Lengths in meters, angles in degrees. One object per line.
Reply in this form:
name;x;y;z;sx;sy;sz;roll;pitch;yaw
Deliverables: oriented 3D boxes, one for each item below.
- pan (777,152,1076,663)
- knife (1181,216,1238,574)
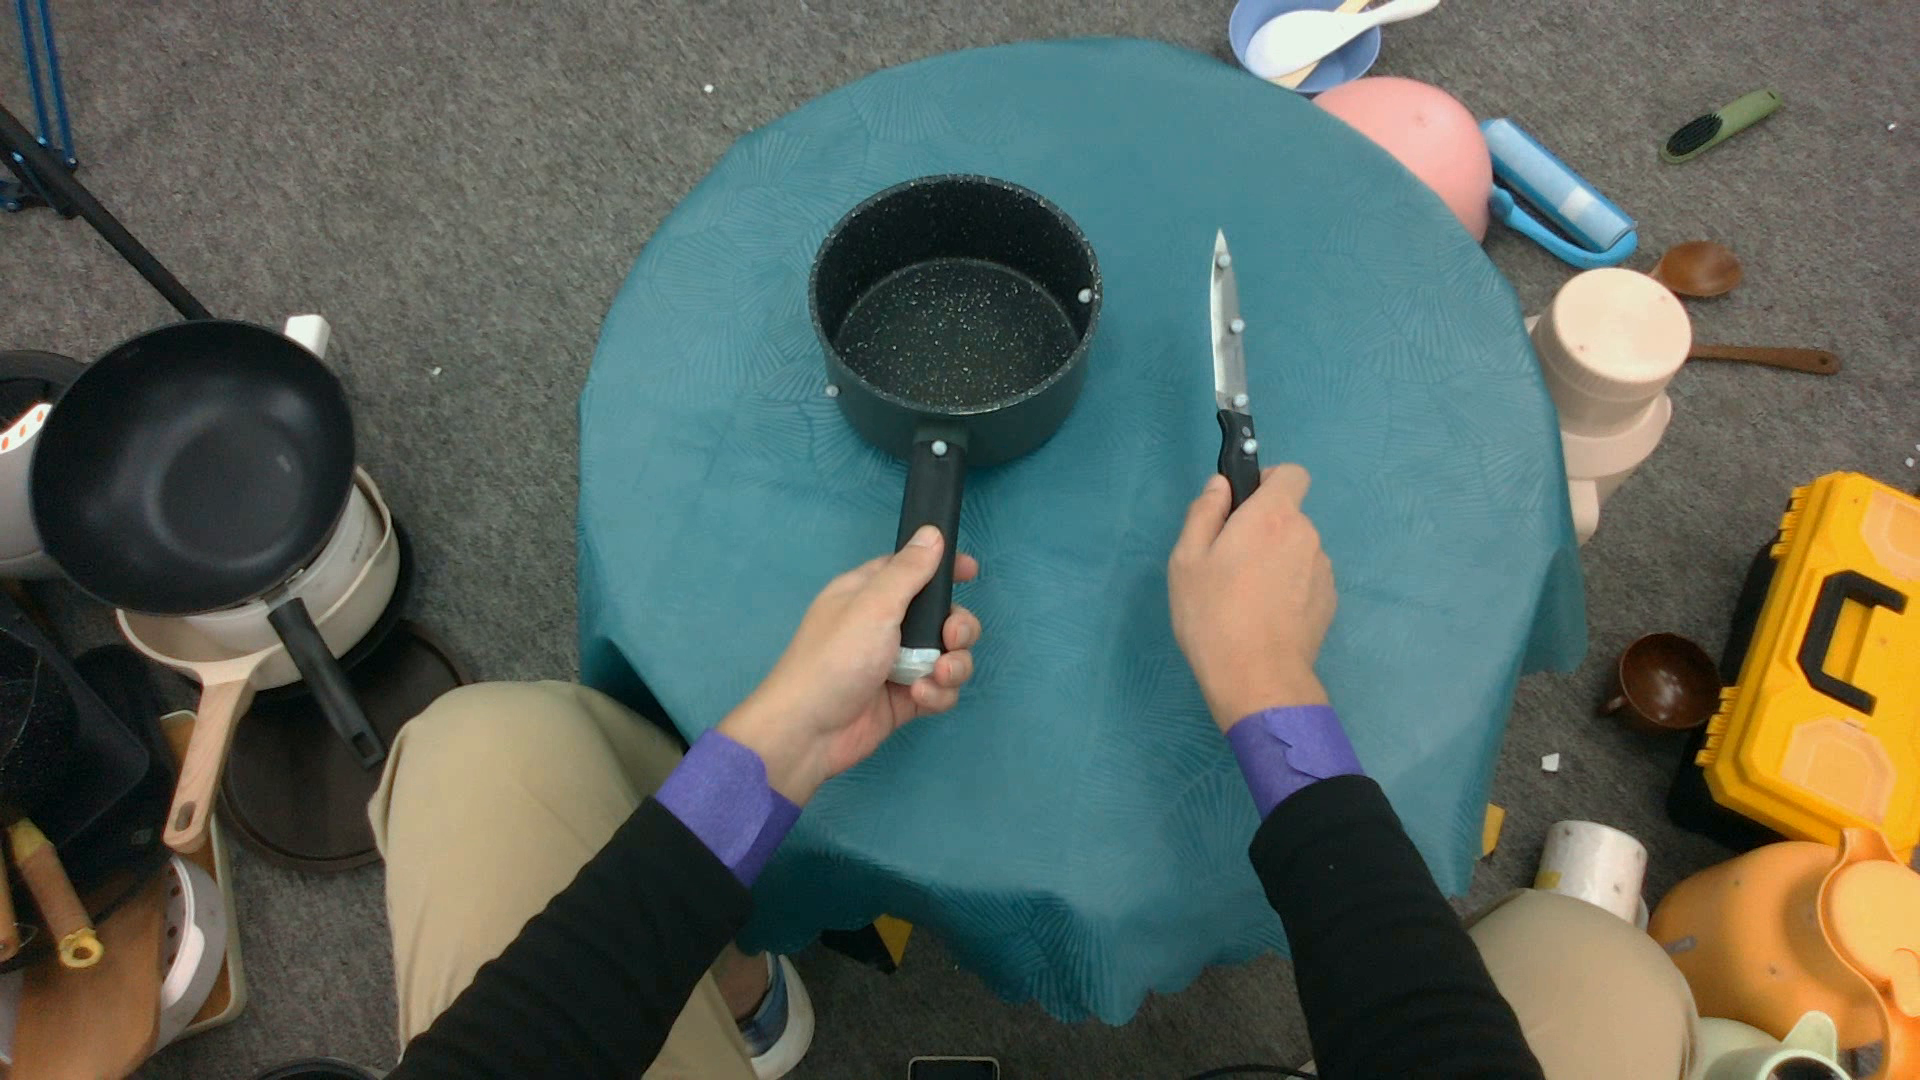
pan;-0.029;-0.072;0.788;0.172;0.086;0.330;7;62;3
knife;0.143;-0.090;0.795;0.024;0.016;0.239;11;63;-21
